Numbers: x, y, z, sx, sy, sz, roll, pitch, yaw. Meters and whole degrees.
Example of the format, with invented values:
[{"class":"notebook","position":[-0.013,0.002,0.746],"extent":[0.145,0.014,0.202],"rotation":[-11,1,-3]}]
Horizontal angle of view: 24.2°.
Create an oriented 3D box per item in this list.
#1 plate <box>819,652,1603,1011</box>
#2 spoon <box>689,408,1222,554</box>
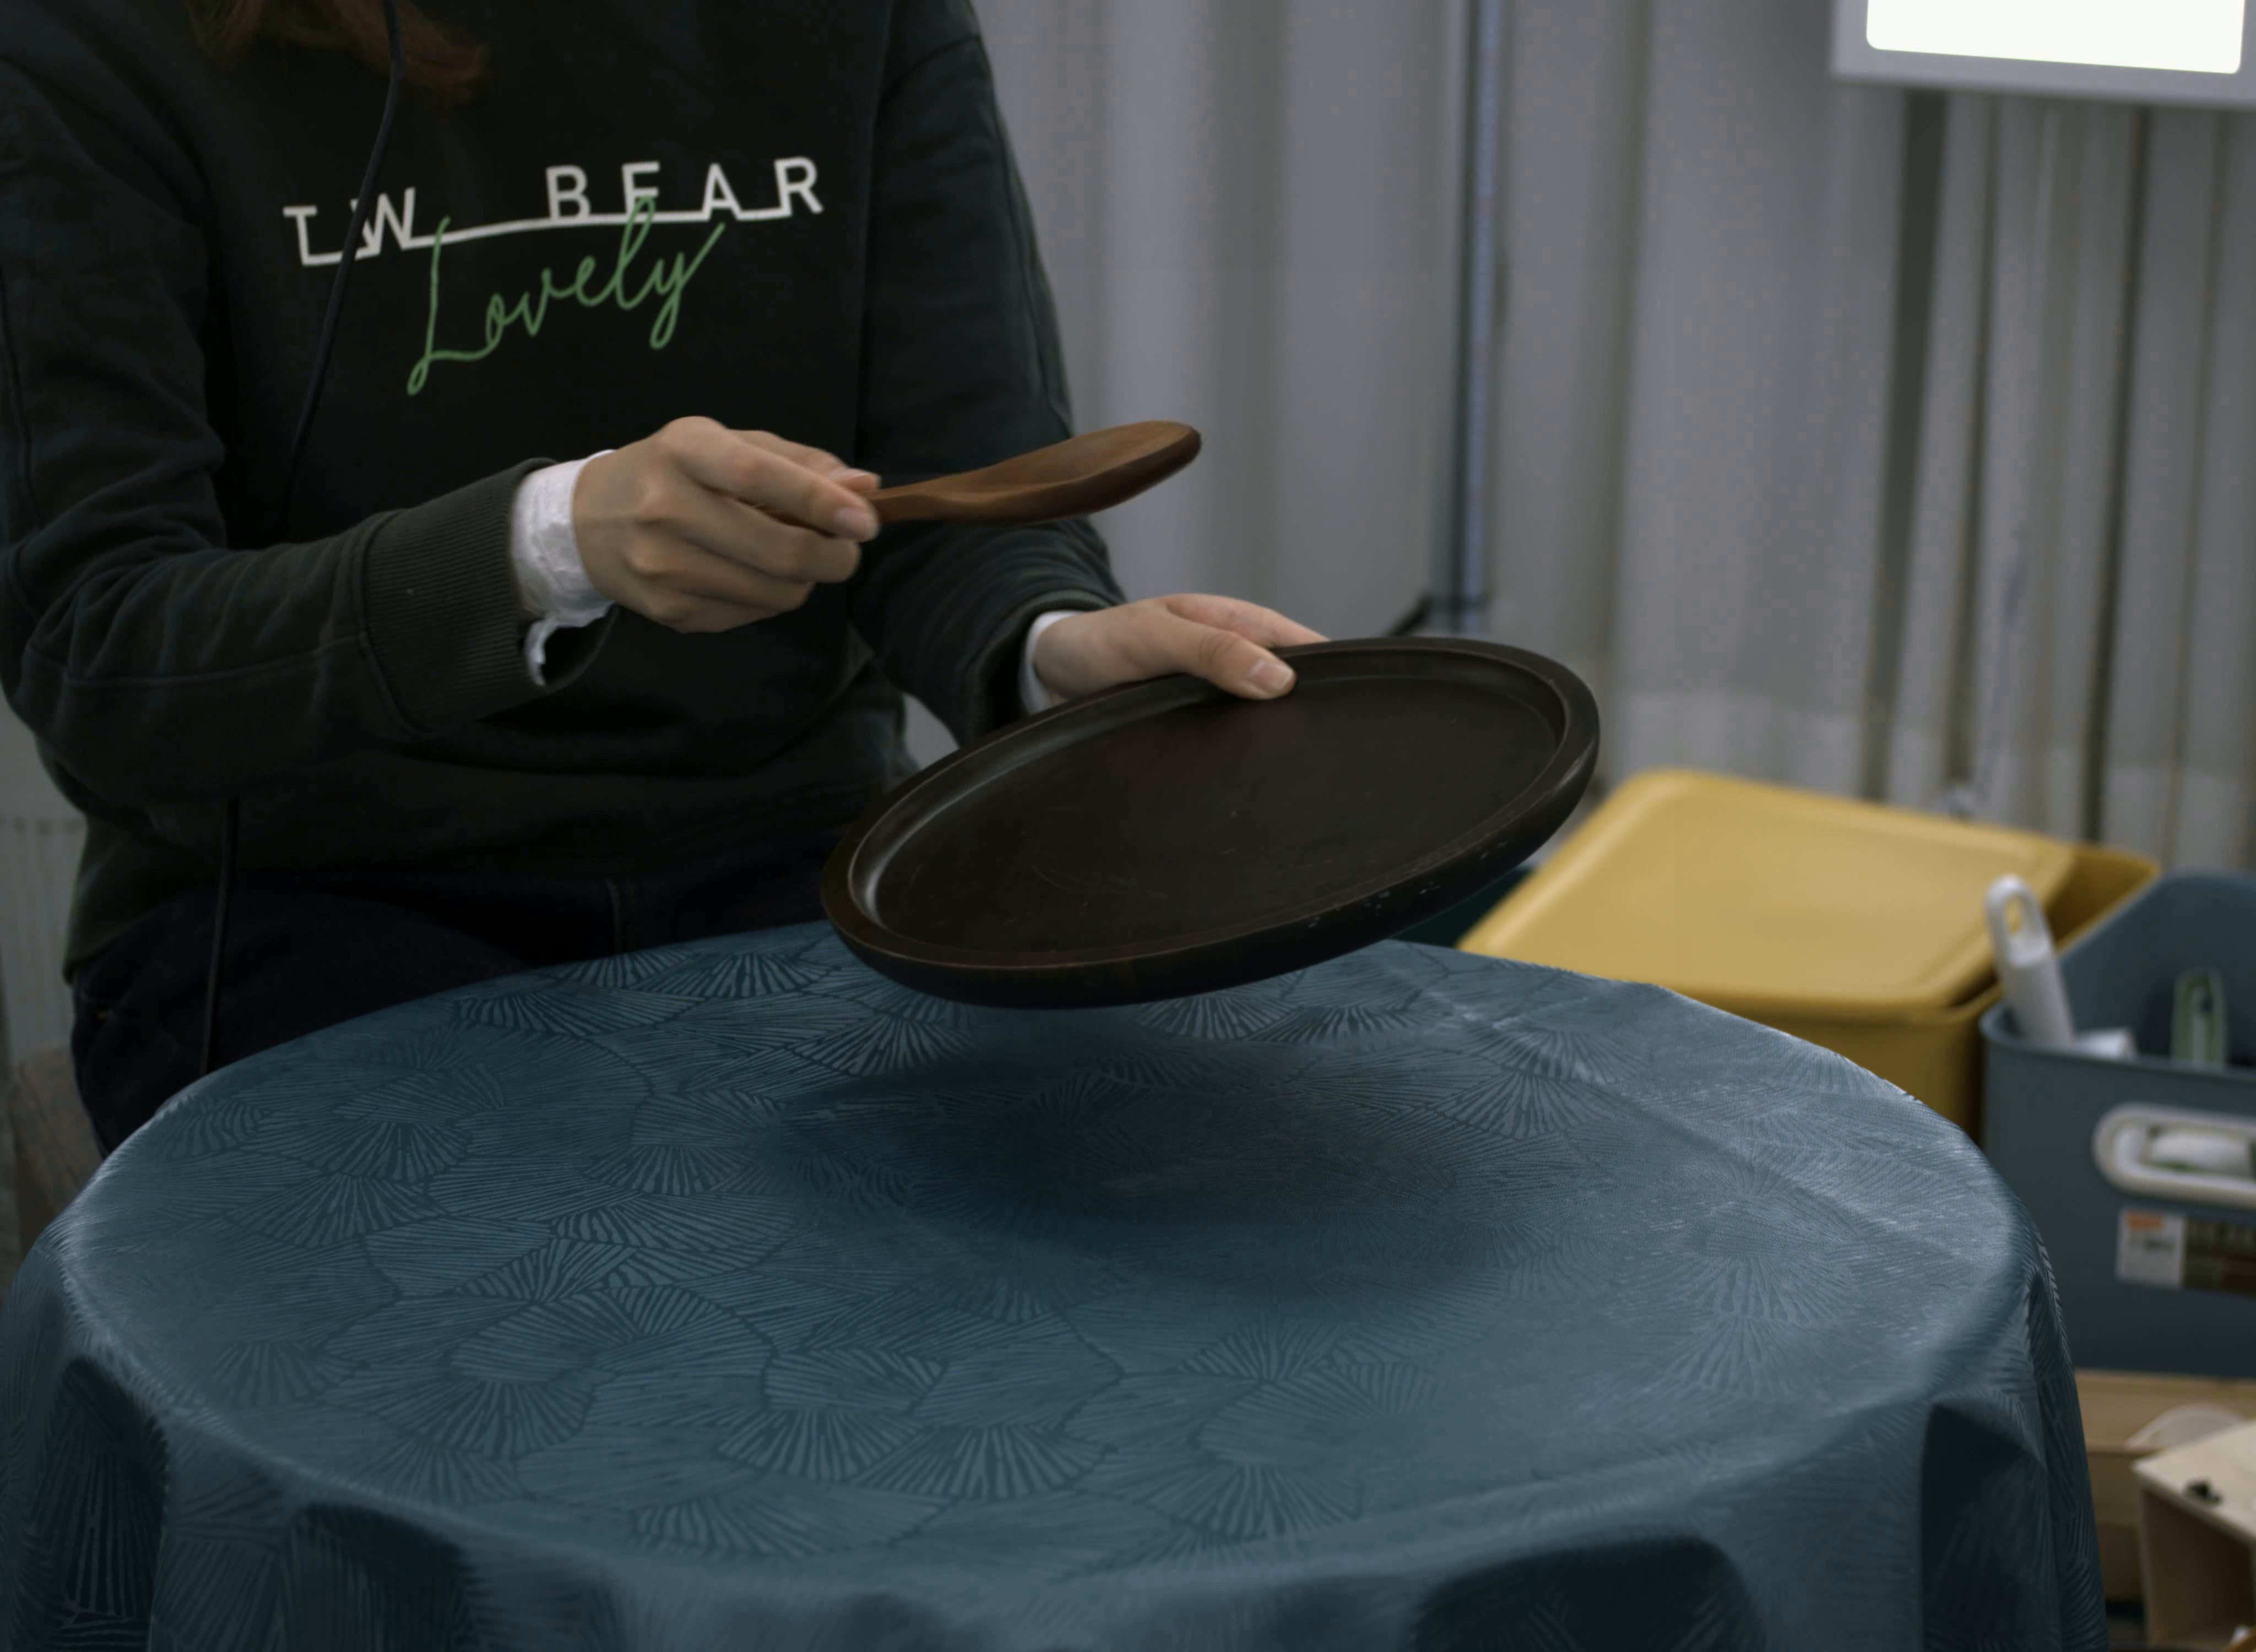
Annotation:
[{"class":"plate","position":[0.027,-0.001,1.667],"extent":[0.254,0.029,0.253],"rotation":[-11,21,5]},{"class":"spoon","position":[-0.058,-0.104,1.659],"extent":[0.213,0.017,0.075],"rotation":[-5,20,40]}]
